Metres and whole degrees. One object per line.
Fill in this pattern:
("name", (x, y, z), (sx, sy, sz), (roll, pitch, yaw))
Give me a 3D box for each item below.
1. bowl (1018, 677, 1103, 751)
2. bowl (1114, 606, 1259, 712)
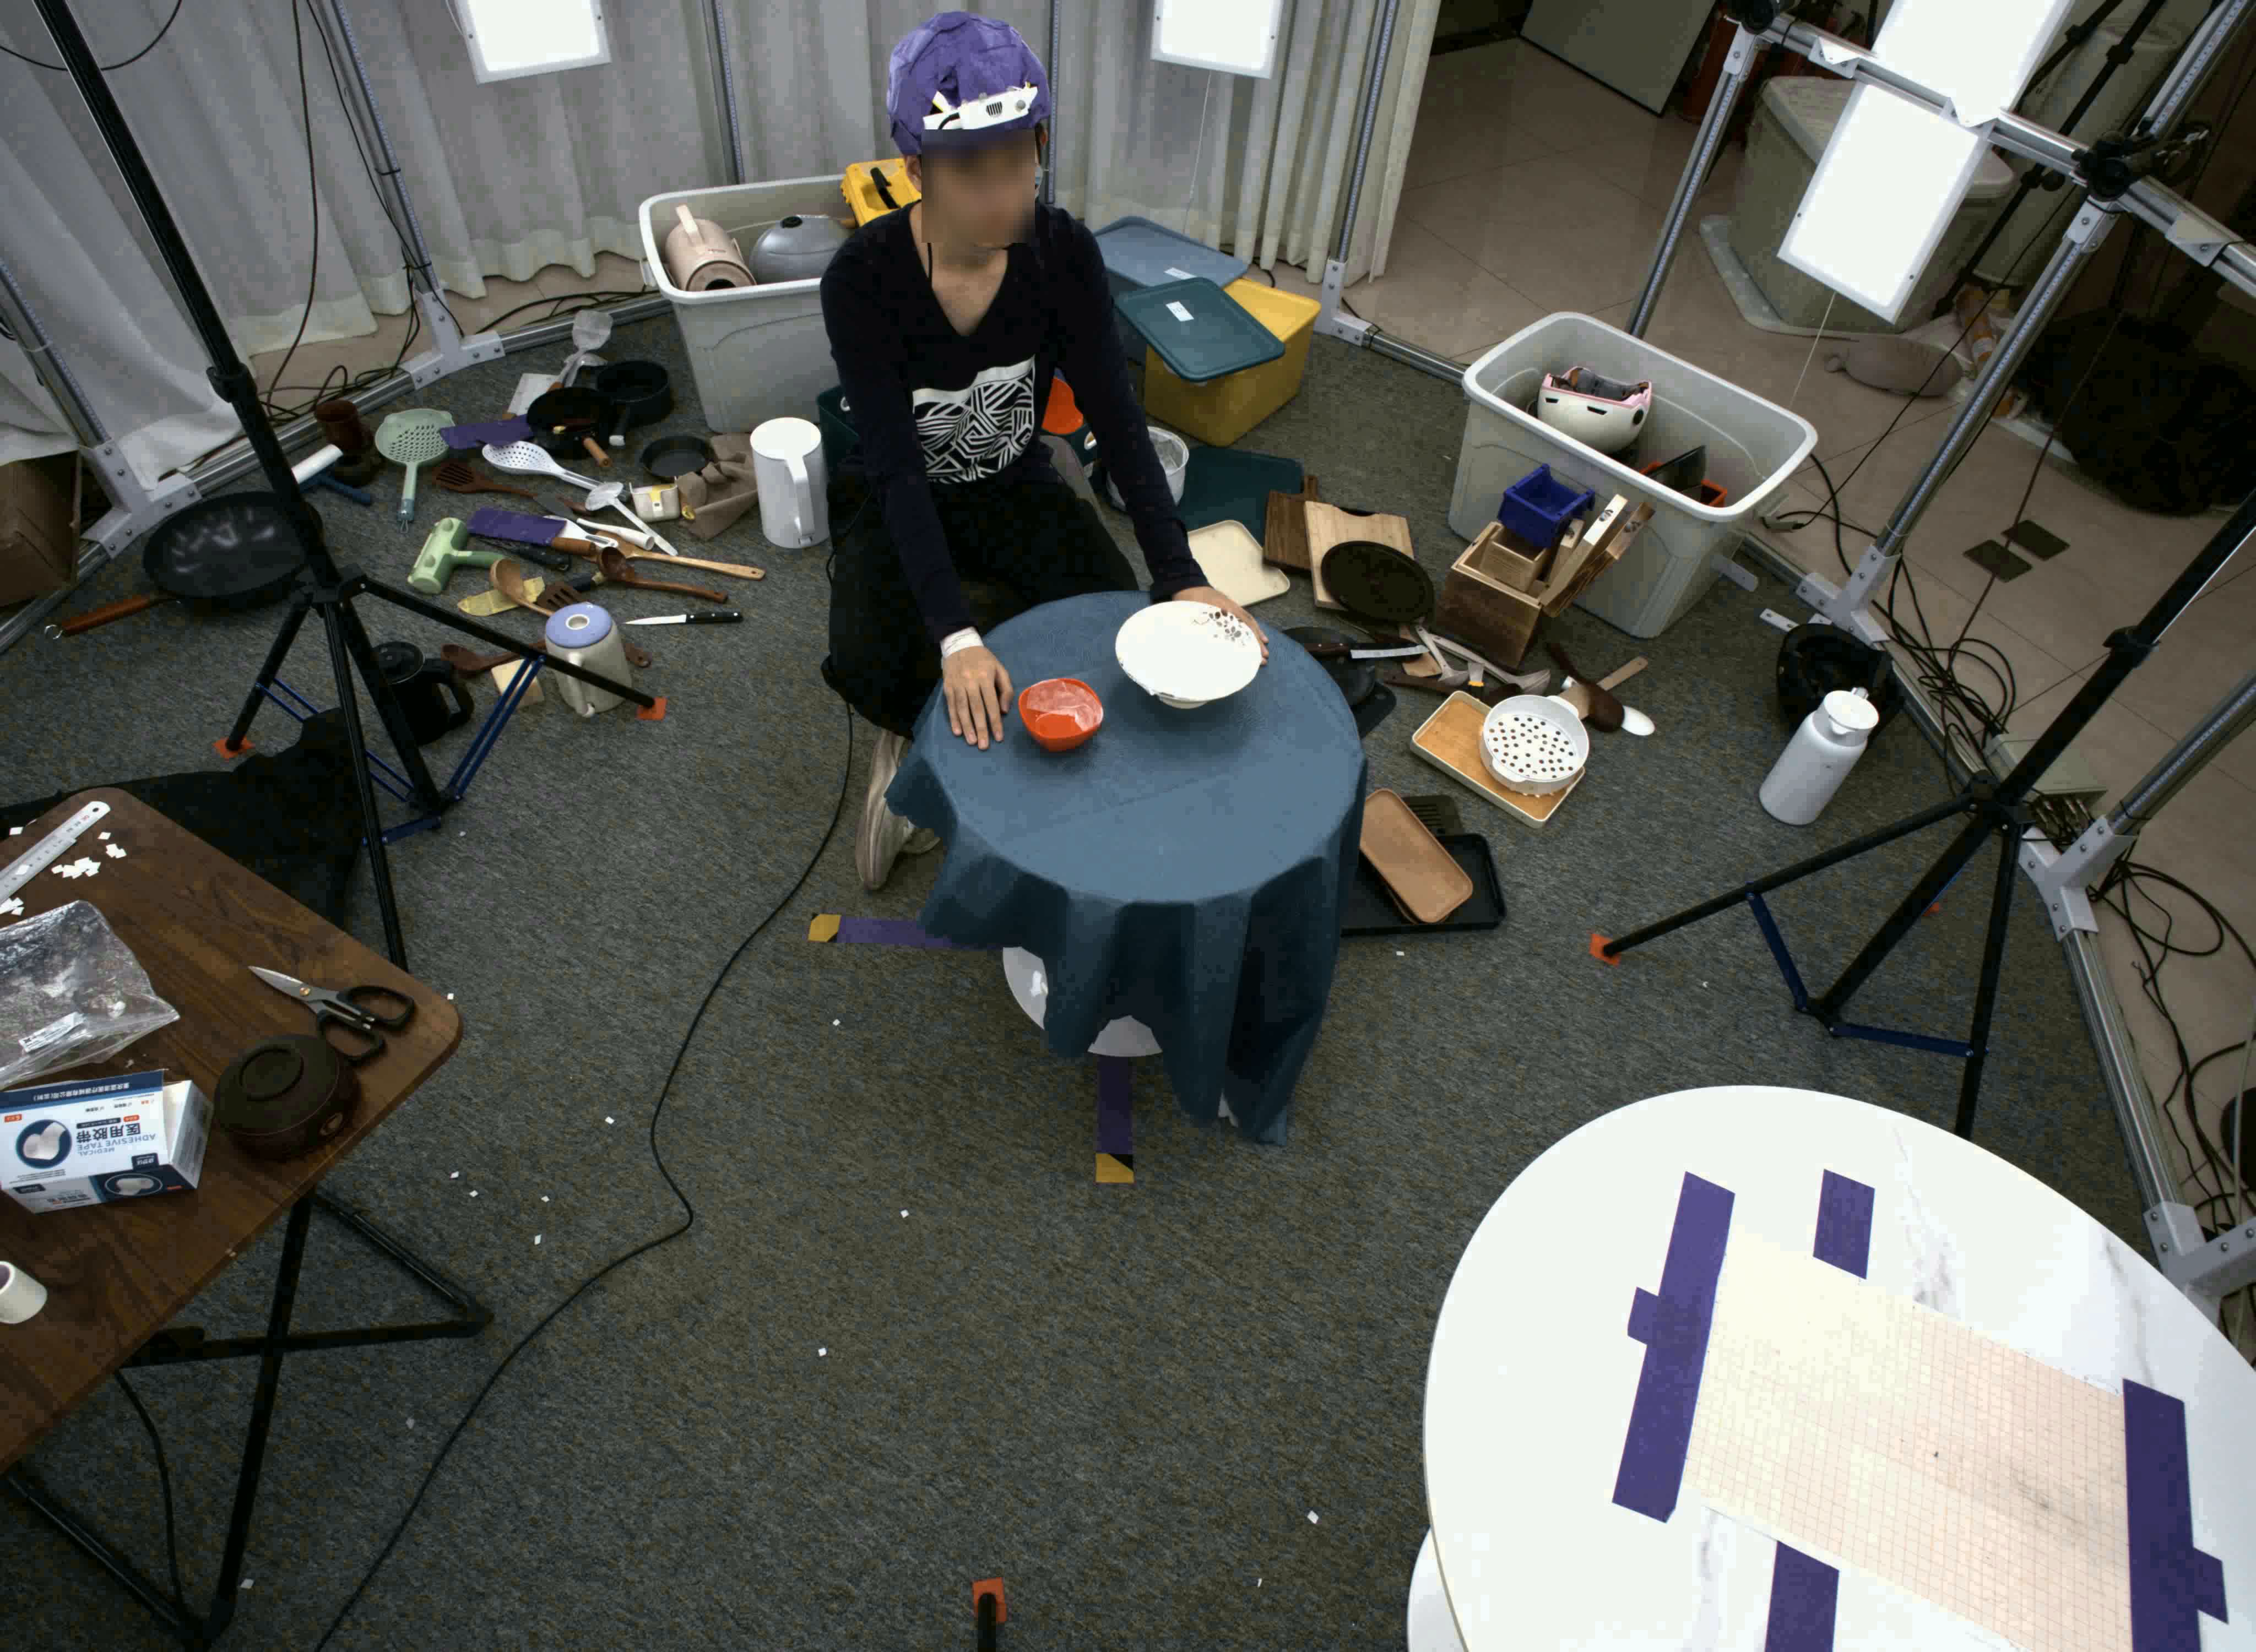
("bowl", (-0.092, -0.147, 1.754), (0.119, 0.050, 0.122), (1, 51, -2))
("bowl", (0.079, -0.219, 1.816), (0.204, 0.076, 0.209), (3, 45, -3))
